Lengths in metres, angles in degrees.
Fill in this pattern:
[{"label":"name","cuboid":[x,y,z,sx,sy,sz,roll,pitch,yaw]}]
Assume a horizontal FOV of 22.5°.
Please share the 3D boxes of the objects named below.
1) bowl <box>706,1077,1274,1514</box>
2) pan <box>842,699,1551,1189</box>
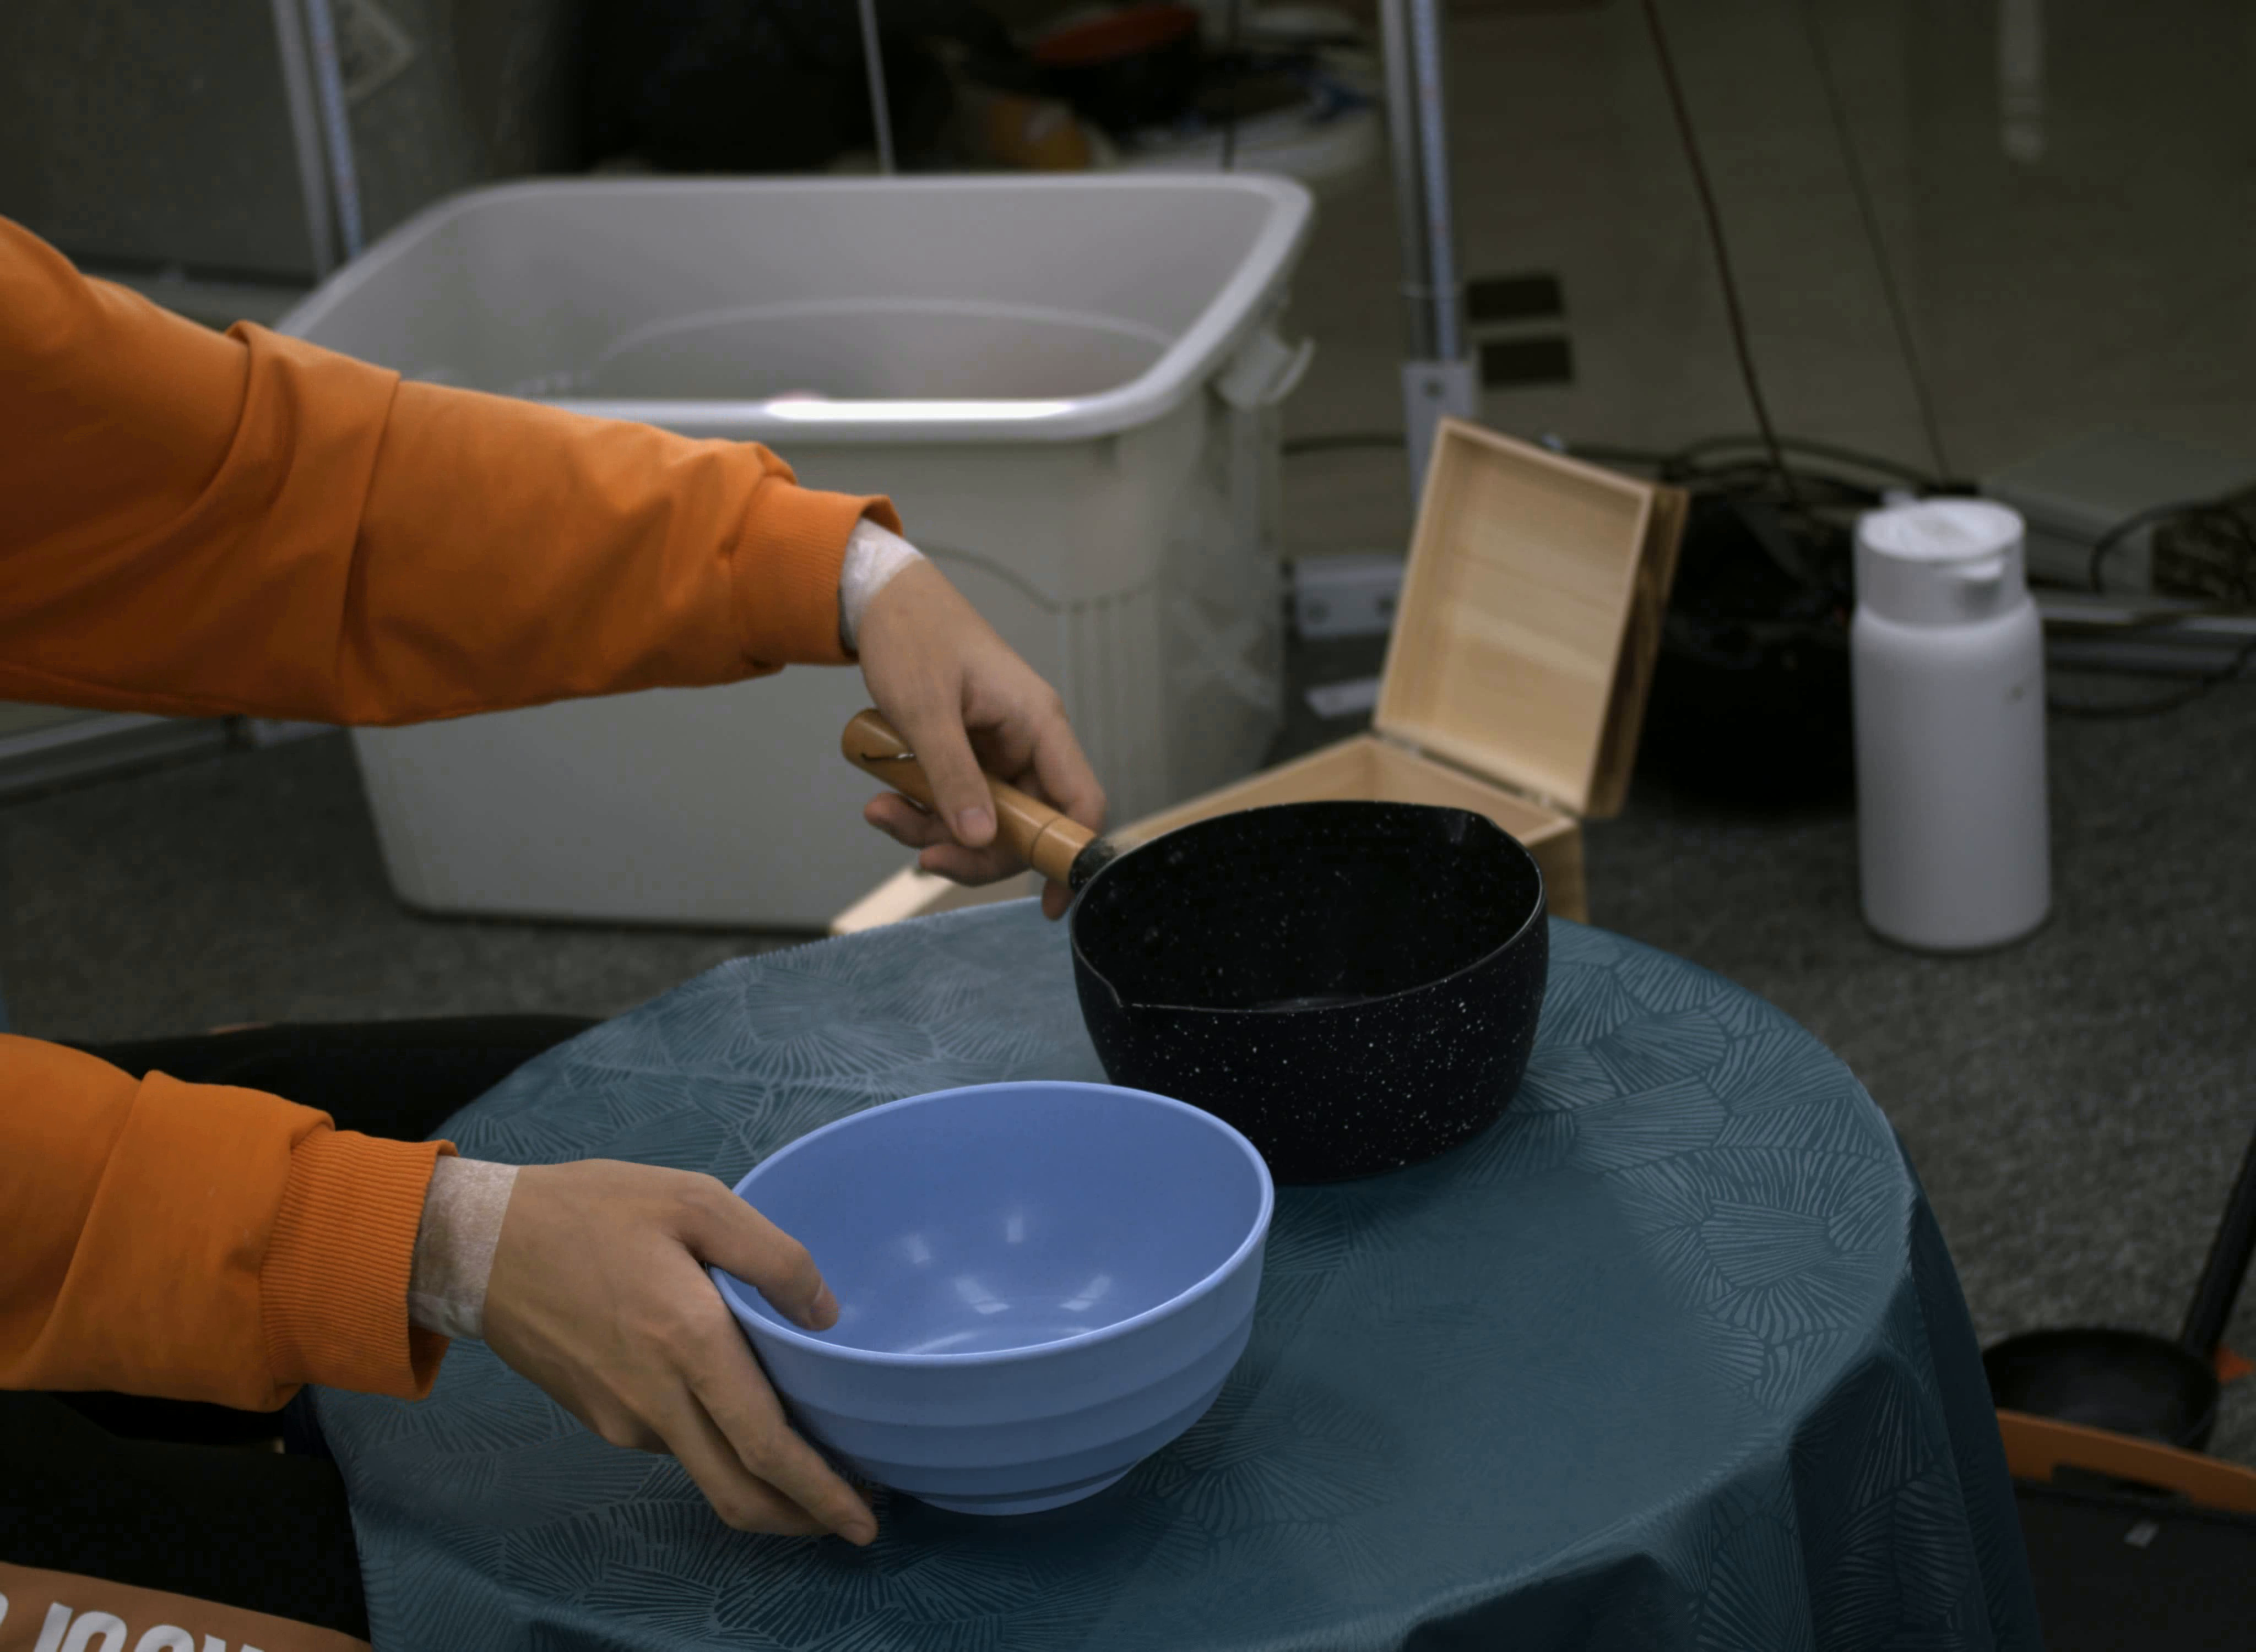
[{"label":"bowl","cuboid":[-0.043,0.174,1.967,0.196,0.097,0.193,-5,26,3]},{"label":"pan","cuboid":[0.013,0.038,2.229,0.340,0.110,0.205,18,36,39]}]
